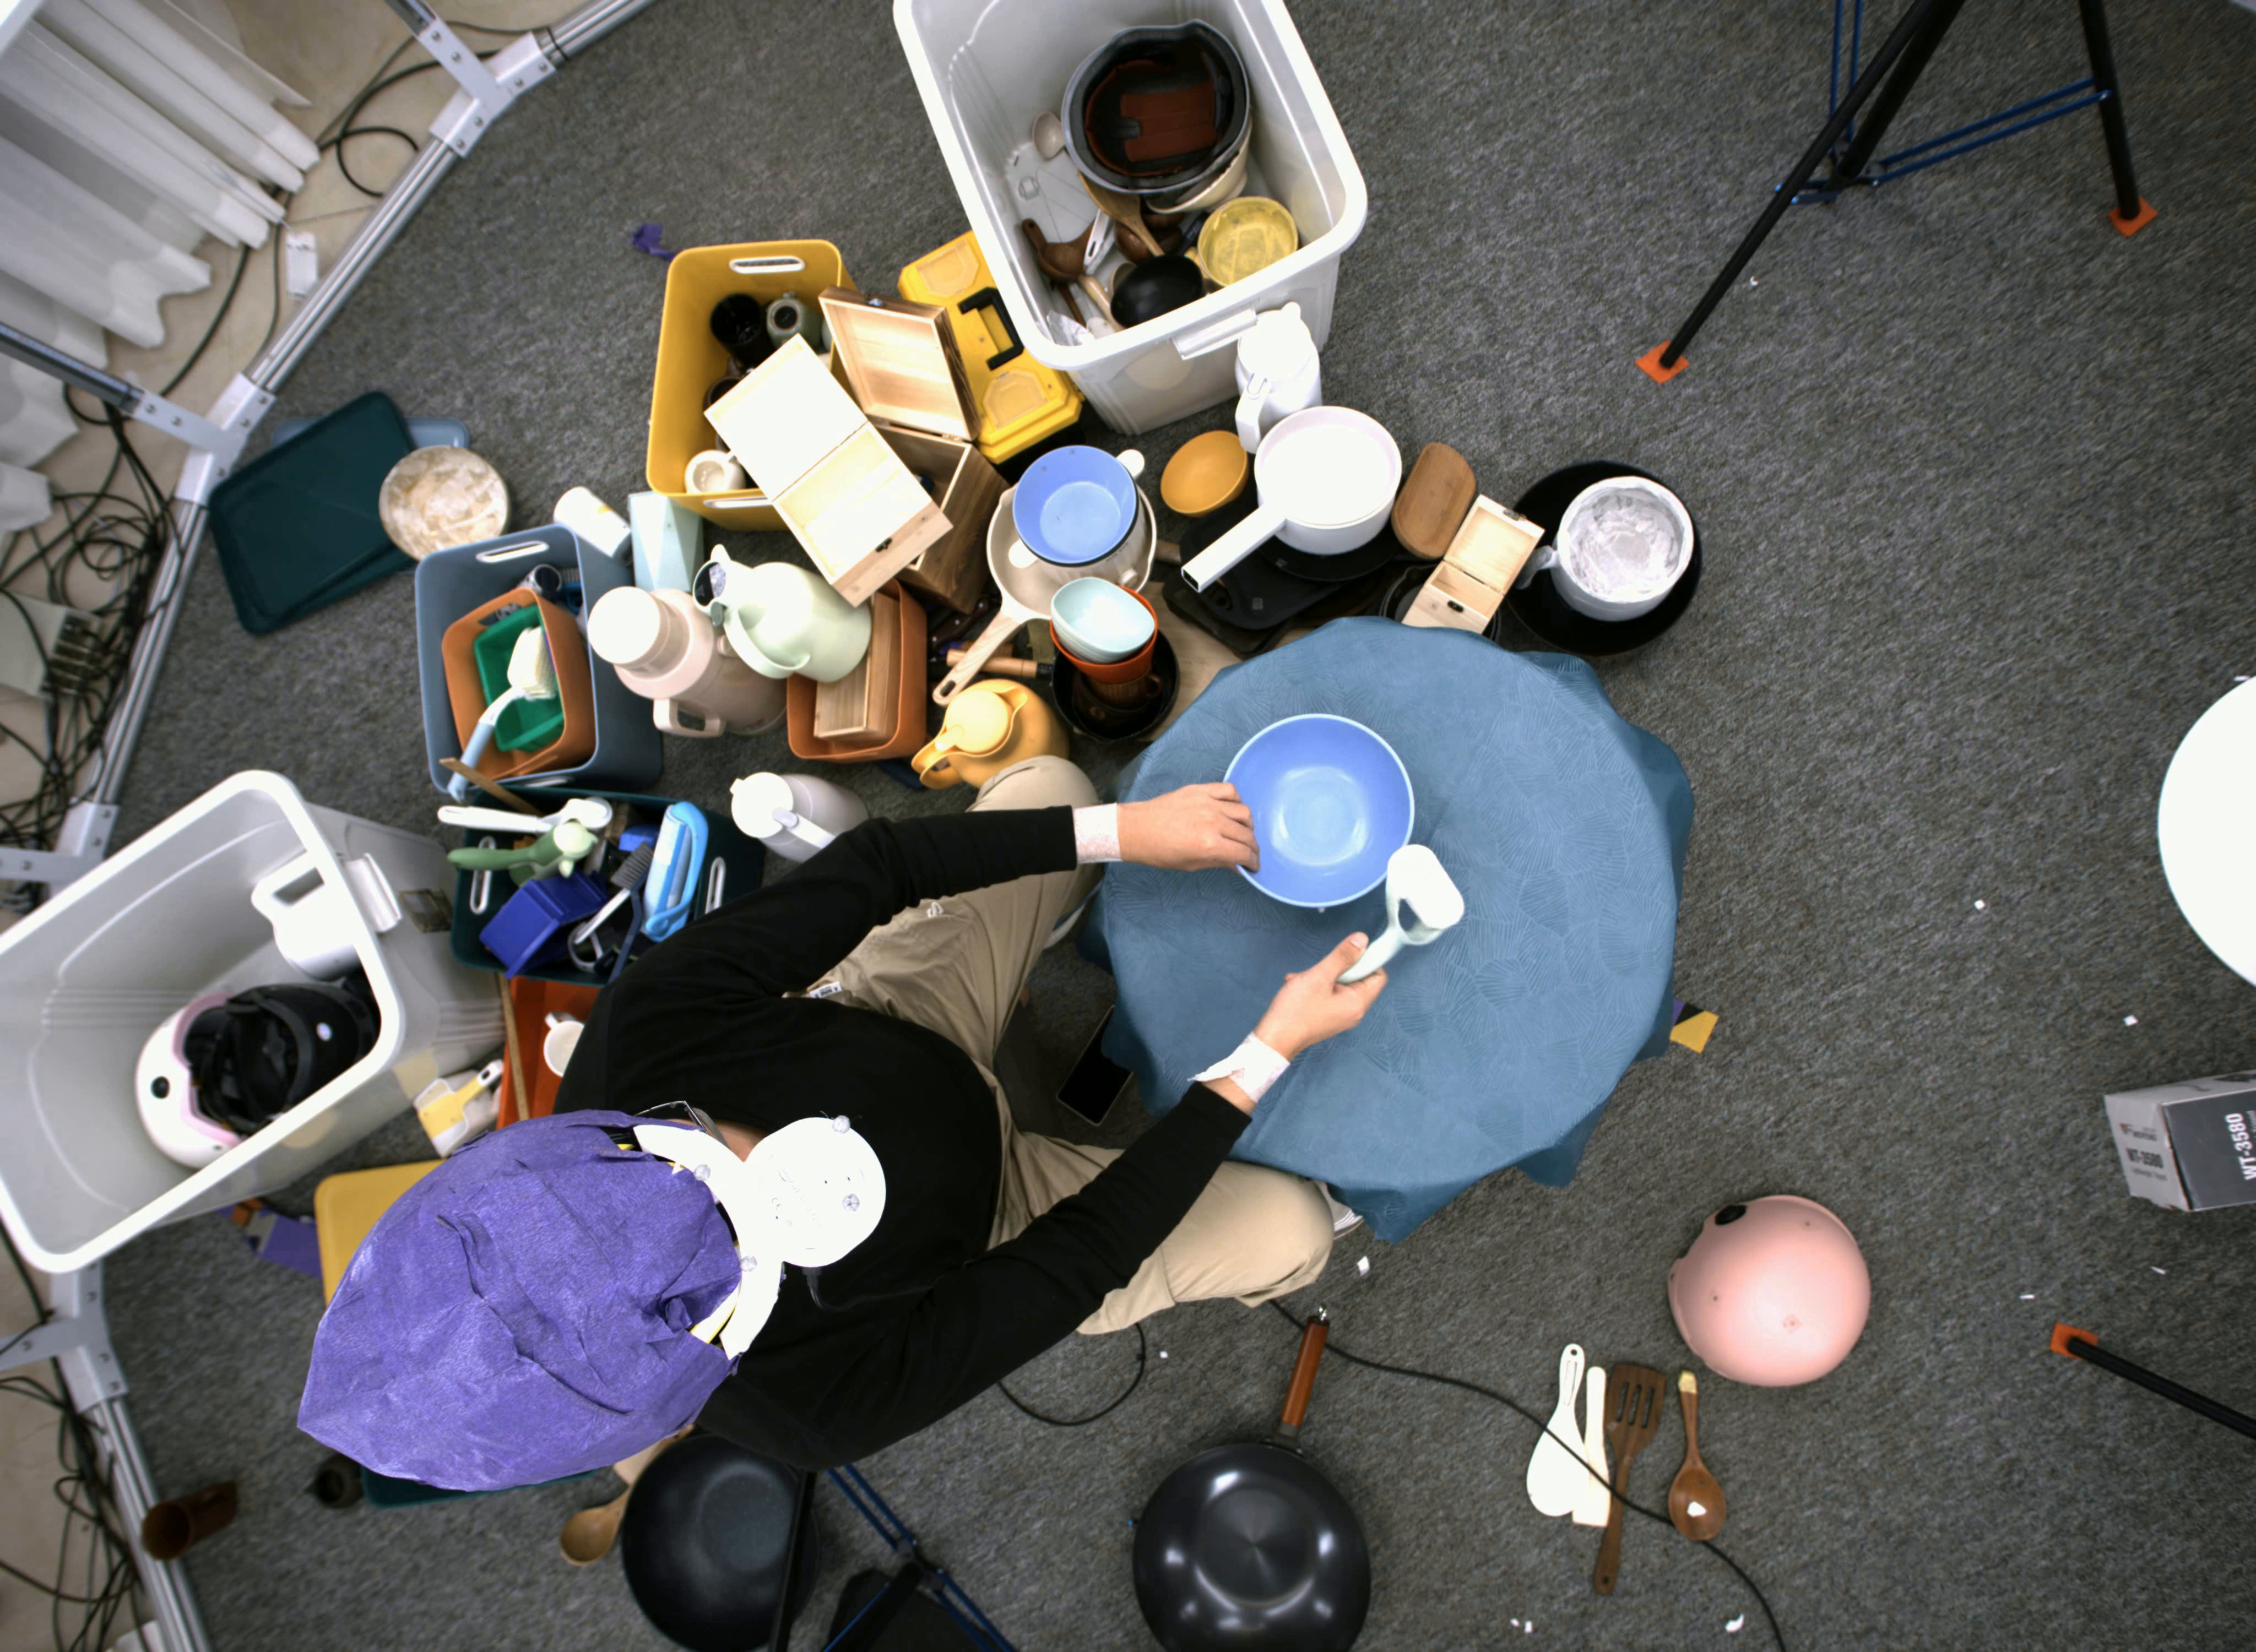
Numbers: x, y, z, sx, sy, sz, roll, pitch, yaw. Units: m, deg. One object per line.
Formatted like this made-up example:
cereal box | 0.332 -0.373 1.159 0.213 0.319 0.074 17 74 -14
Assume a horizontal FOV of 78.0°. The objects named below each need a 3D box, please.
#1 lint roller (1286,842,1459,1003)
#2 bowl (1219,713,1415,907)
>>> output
lint roller | 0.232 0.105 1.334 0.198 0.118 0.048 -45 56 3
bowl | 0.196 -0.014 1.428 0.197 0.095 0.196 -1 88 10
